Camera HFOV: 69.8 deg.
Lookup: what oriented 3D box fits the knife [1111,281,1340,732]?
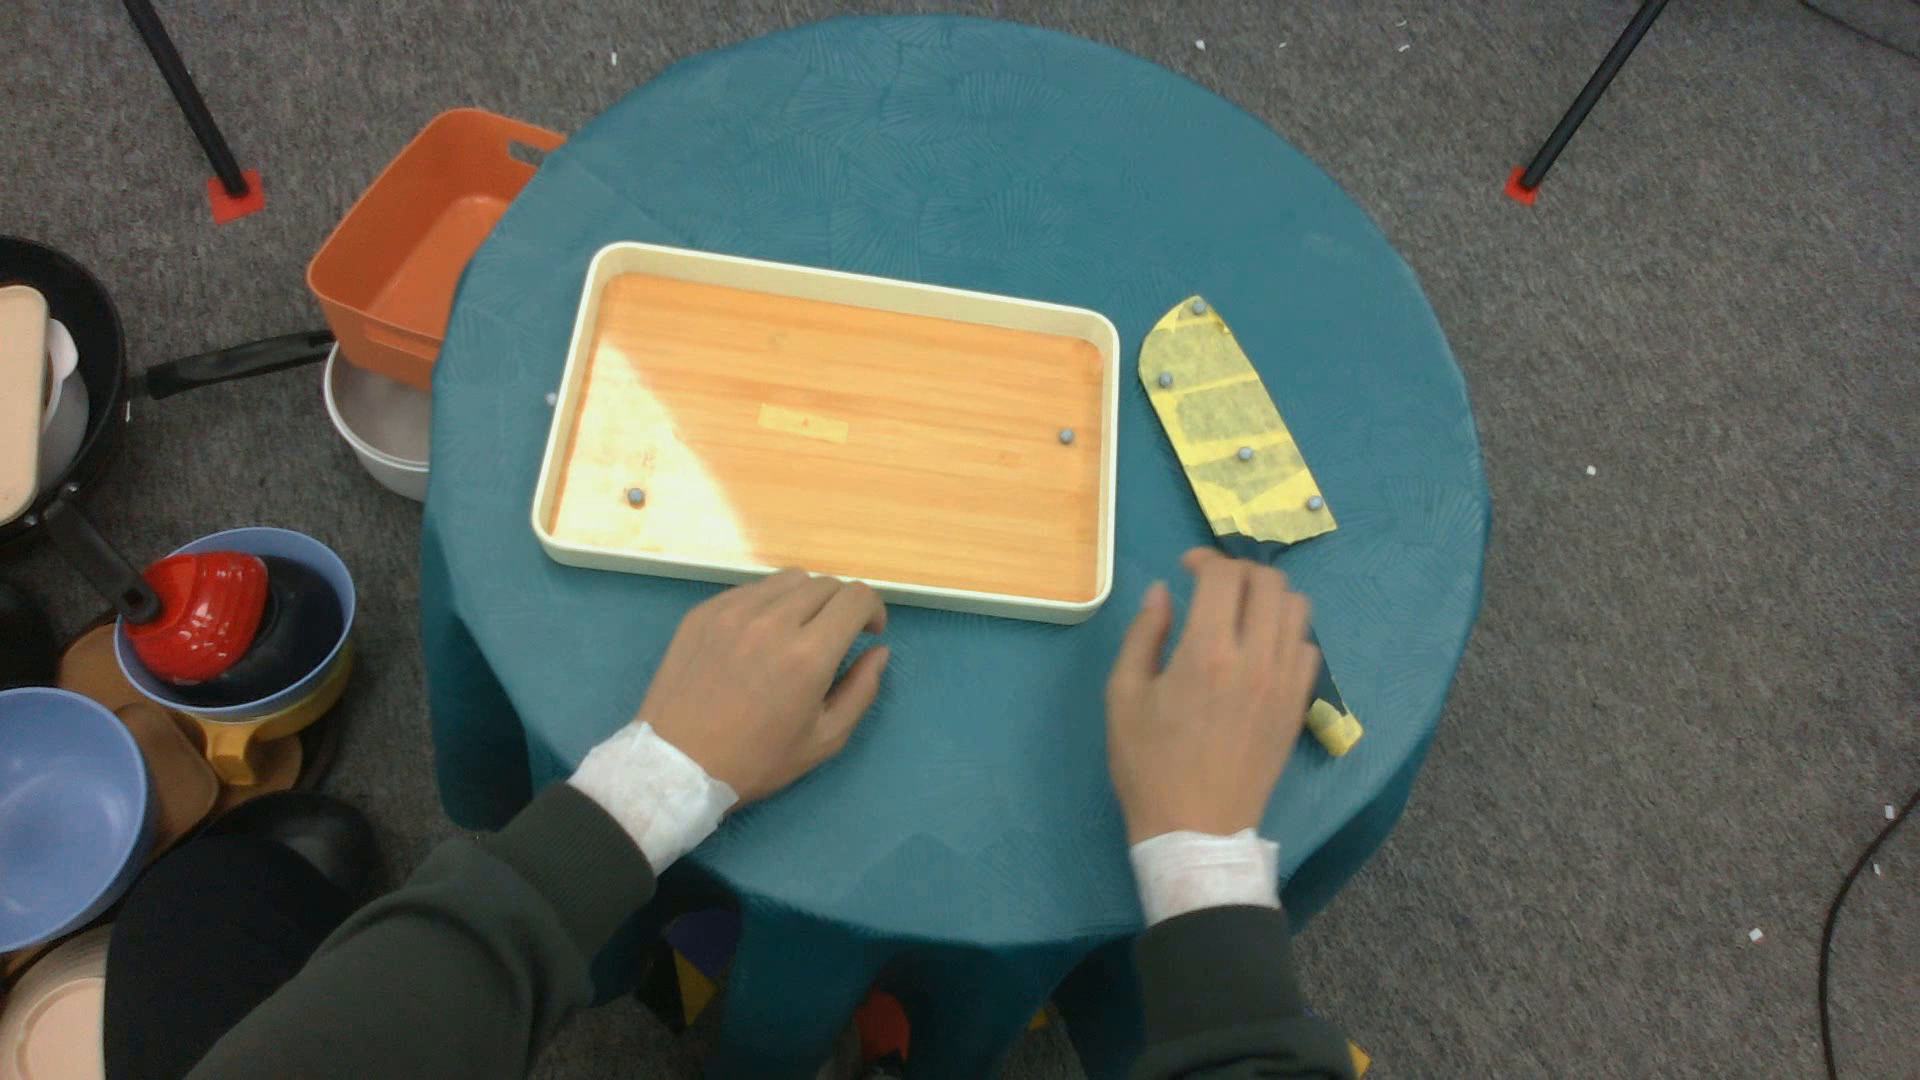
[{"bbox_3d":[0.157,-0.030,0.777,0.081,0.027,0.290,-13,67,-13],"label":"knife"}]

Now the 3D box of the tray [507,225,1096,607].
[{"bbox_3d":[-0.076,-0.069,0.749,0.300,0.027,0.192,7,65,-6],"label":"tray"}]
